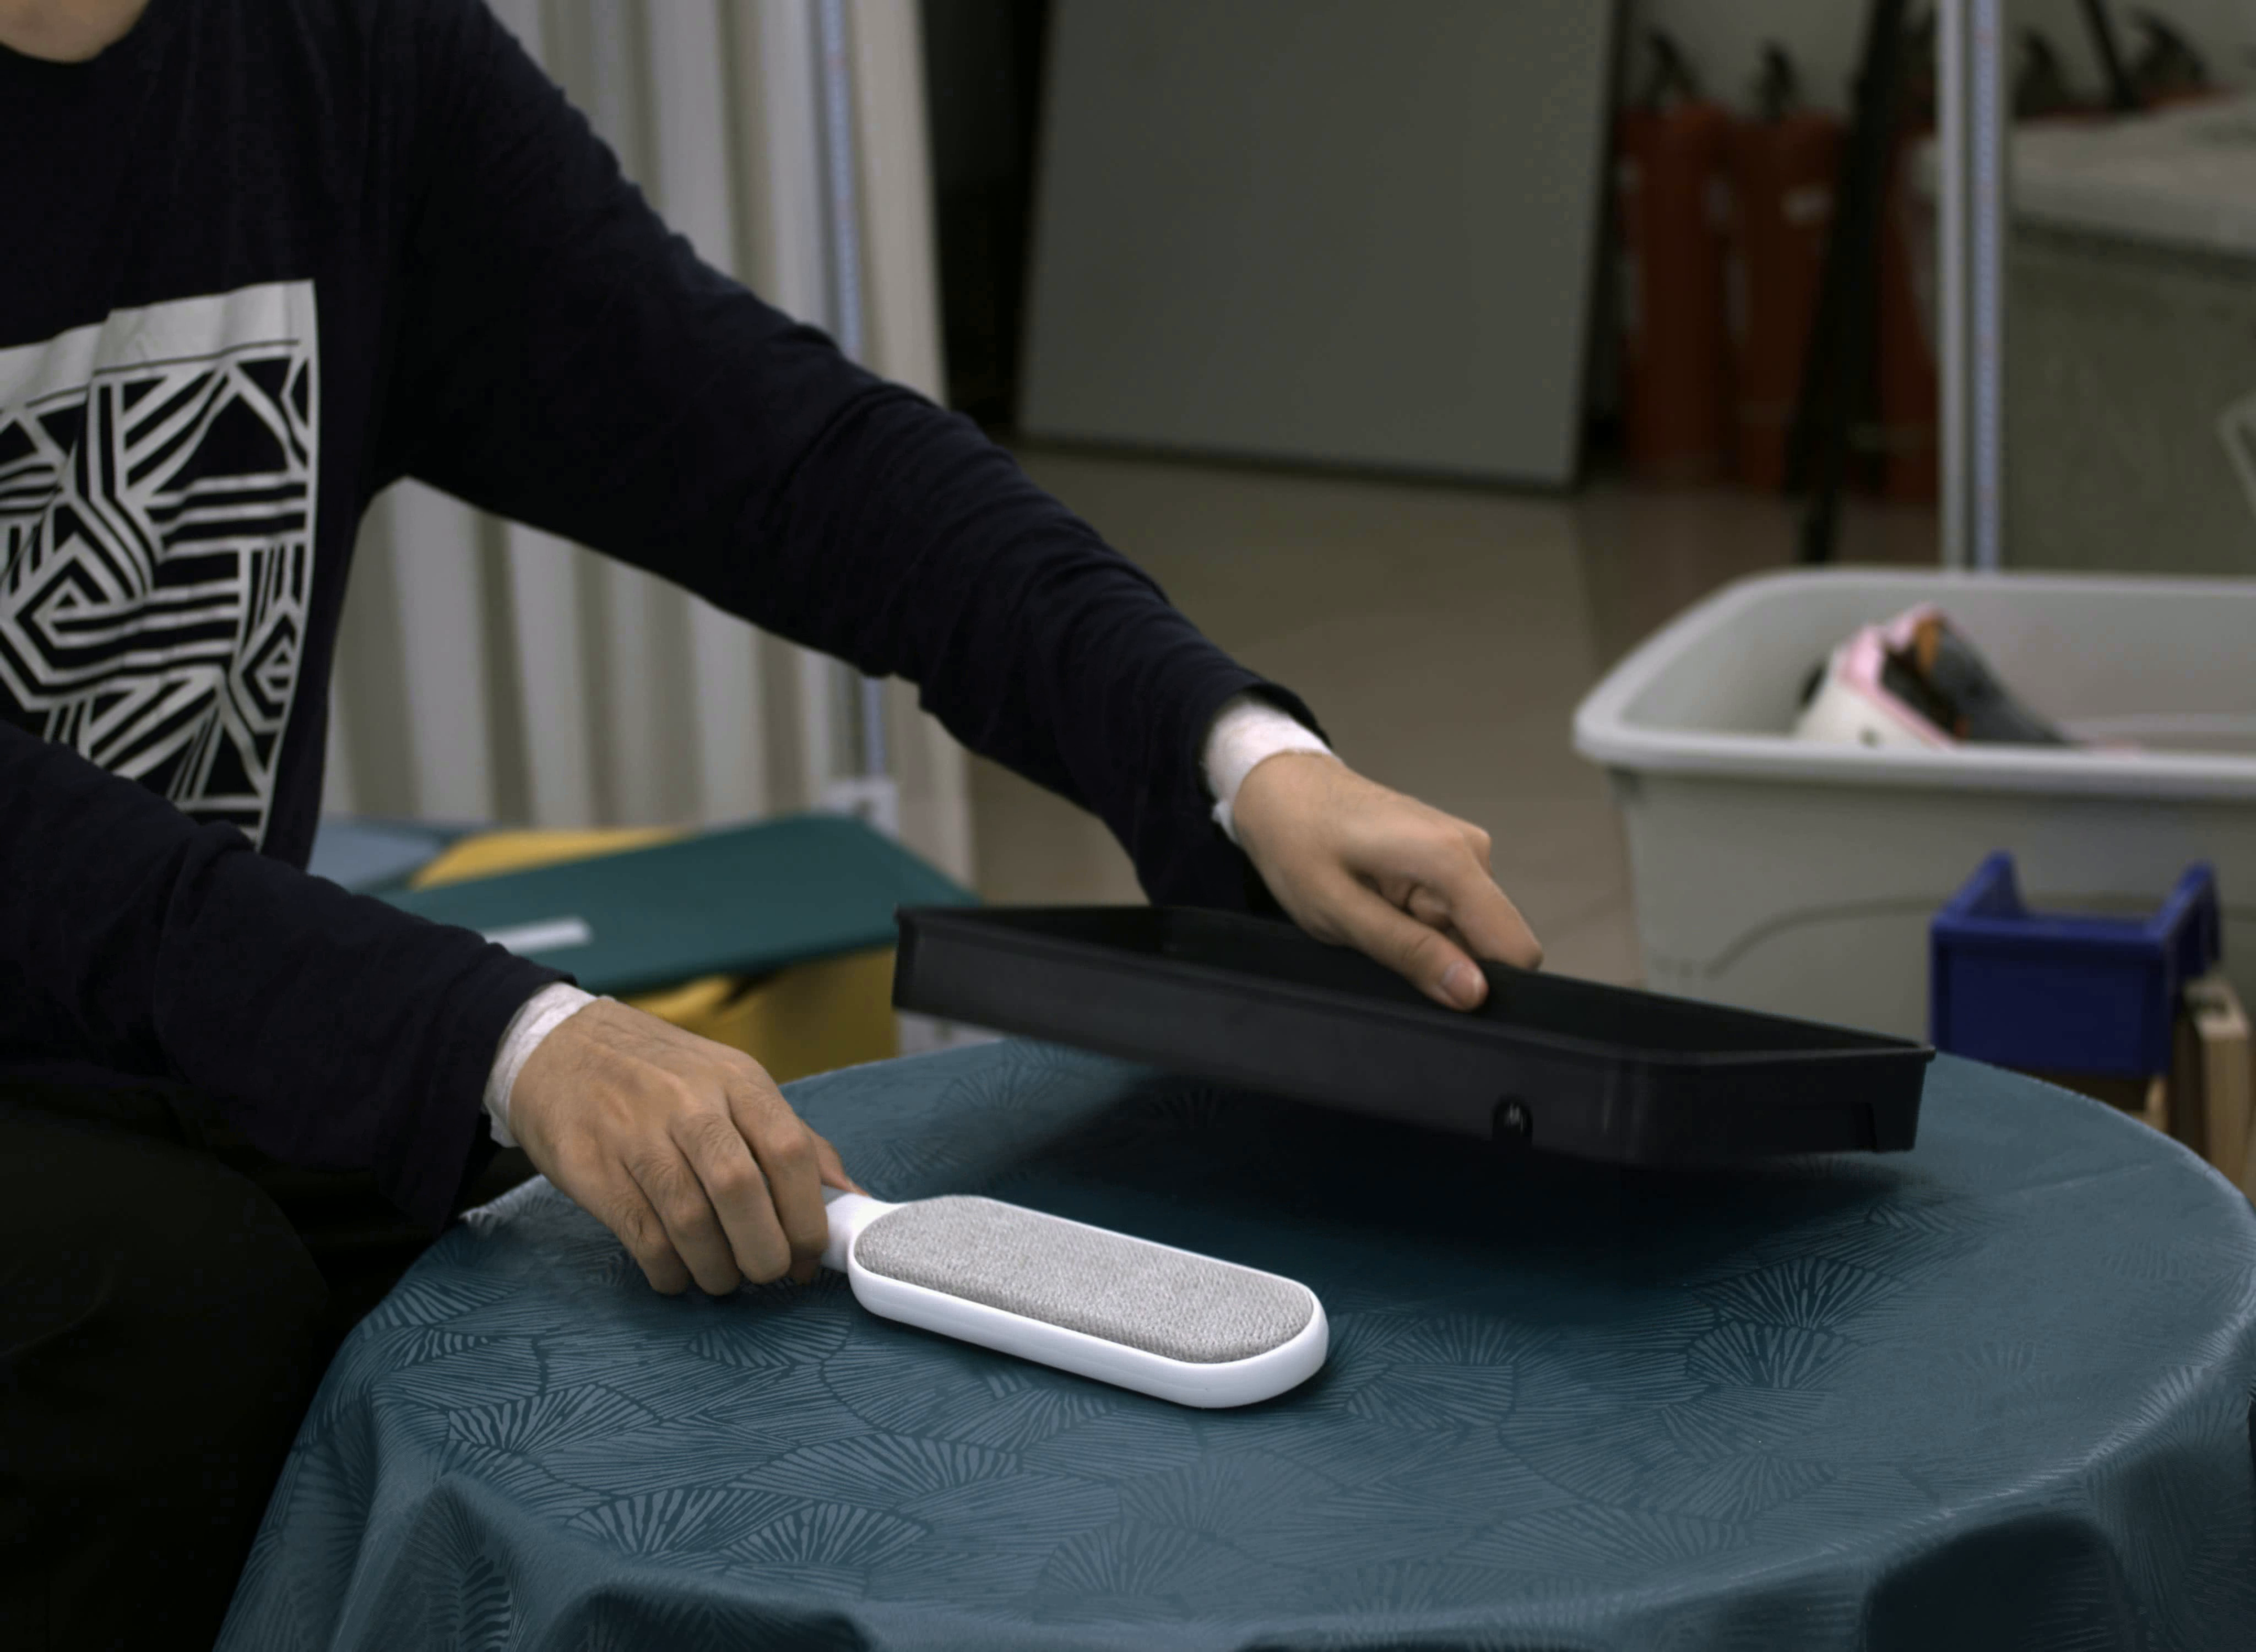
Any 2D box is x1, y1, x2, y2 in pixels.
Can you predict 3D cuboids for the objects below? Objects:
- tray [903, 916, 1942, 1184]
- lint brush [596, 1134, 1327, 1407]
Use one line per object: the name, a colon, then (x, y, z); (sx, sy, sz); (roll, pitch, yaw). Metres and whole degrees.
tray: (0.092, 0.070, 1.761); (0.320, 0.037, 0.180); (10, 6, 40)
lint brush: (-0.058, 0.132, 1.668); (0.312, 0.021, 0.059); (11, 35, 44)
